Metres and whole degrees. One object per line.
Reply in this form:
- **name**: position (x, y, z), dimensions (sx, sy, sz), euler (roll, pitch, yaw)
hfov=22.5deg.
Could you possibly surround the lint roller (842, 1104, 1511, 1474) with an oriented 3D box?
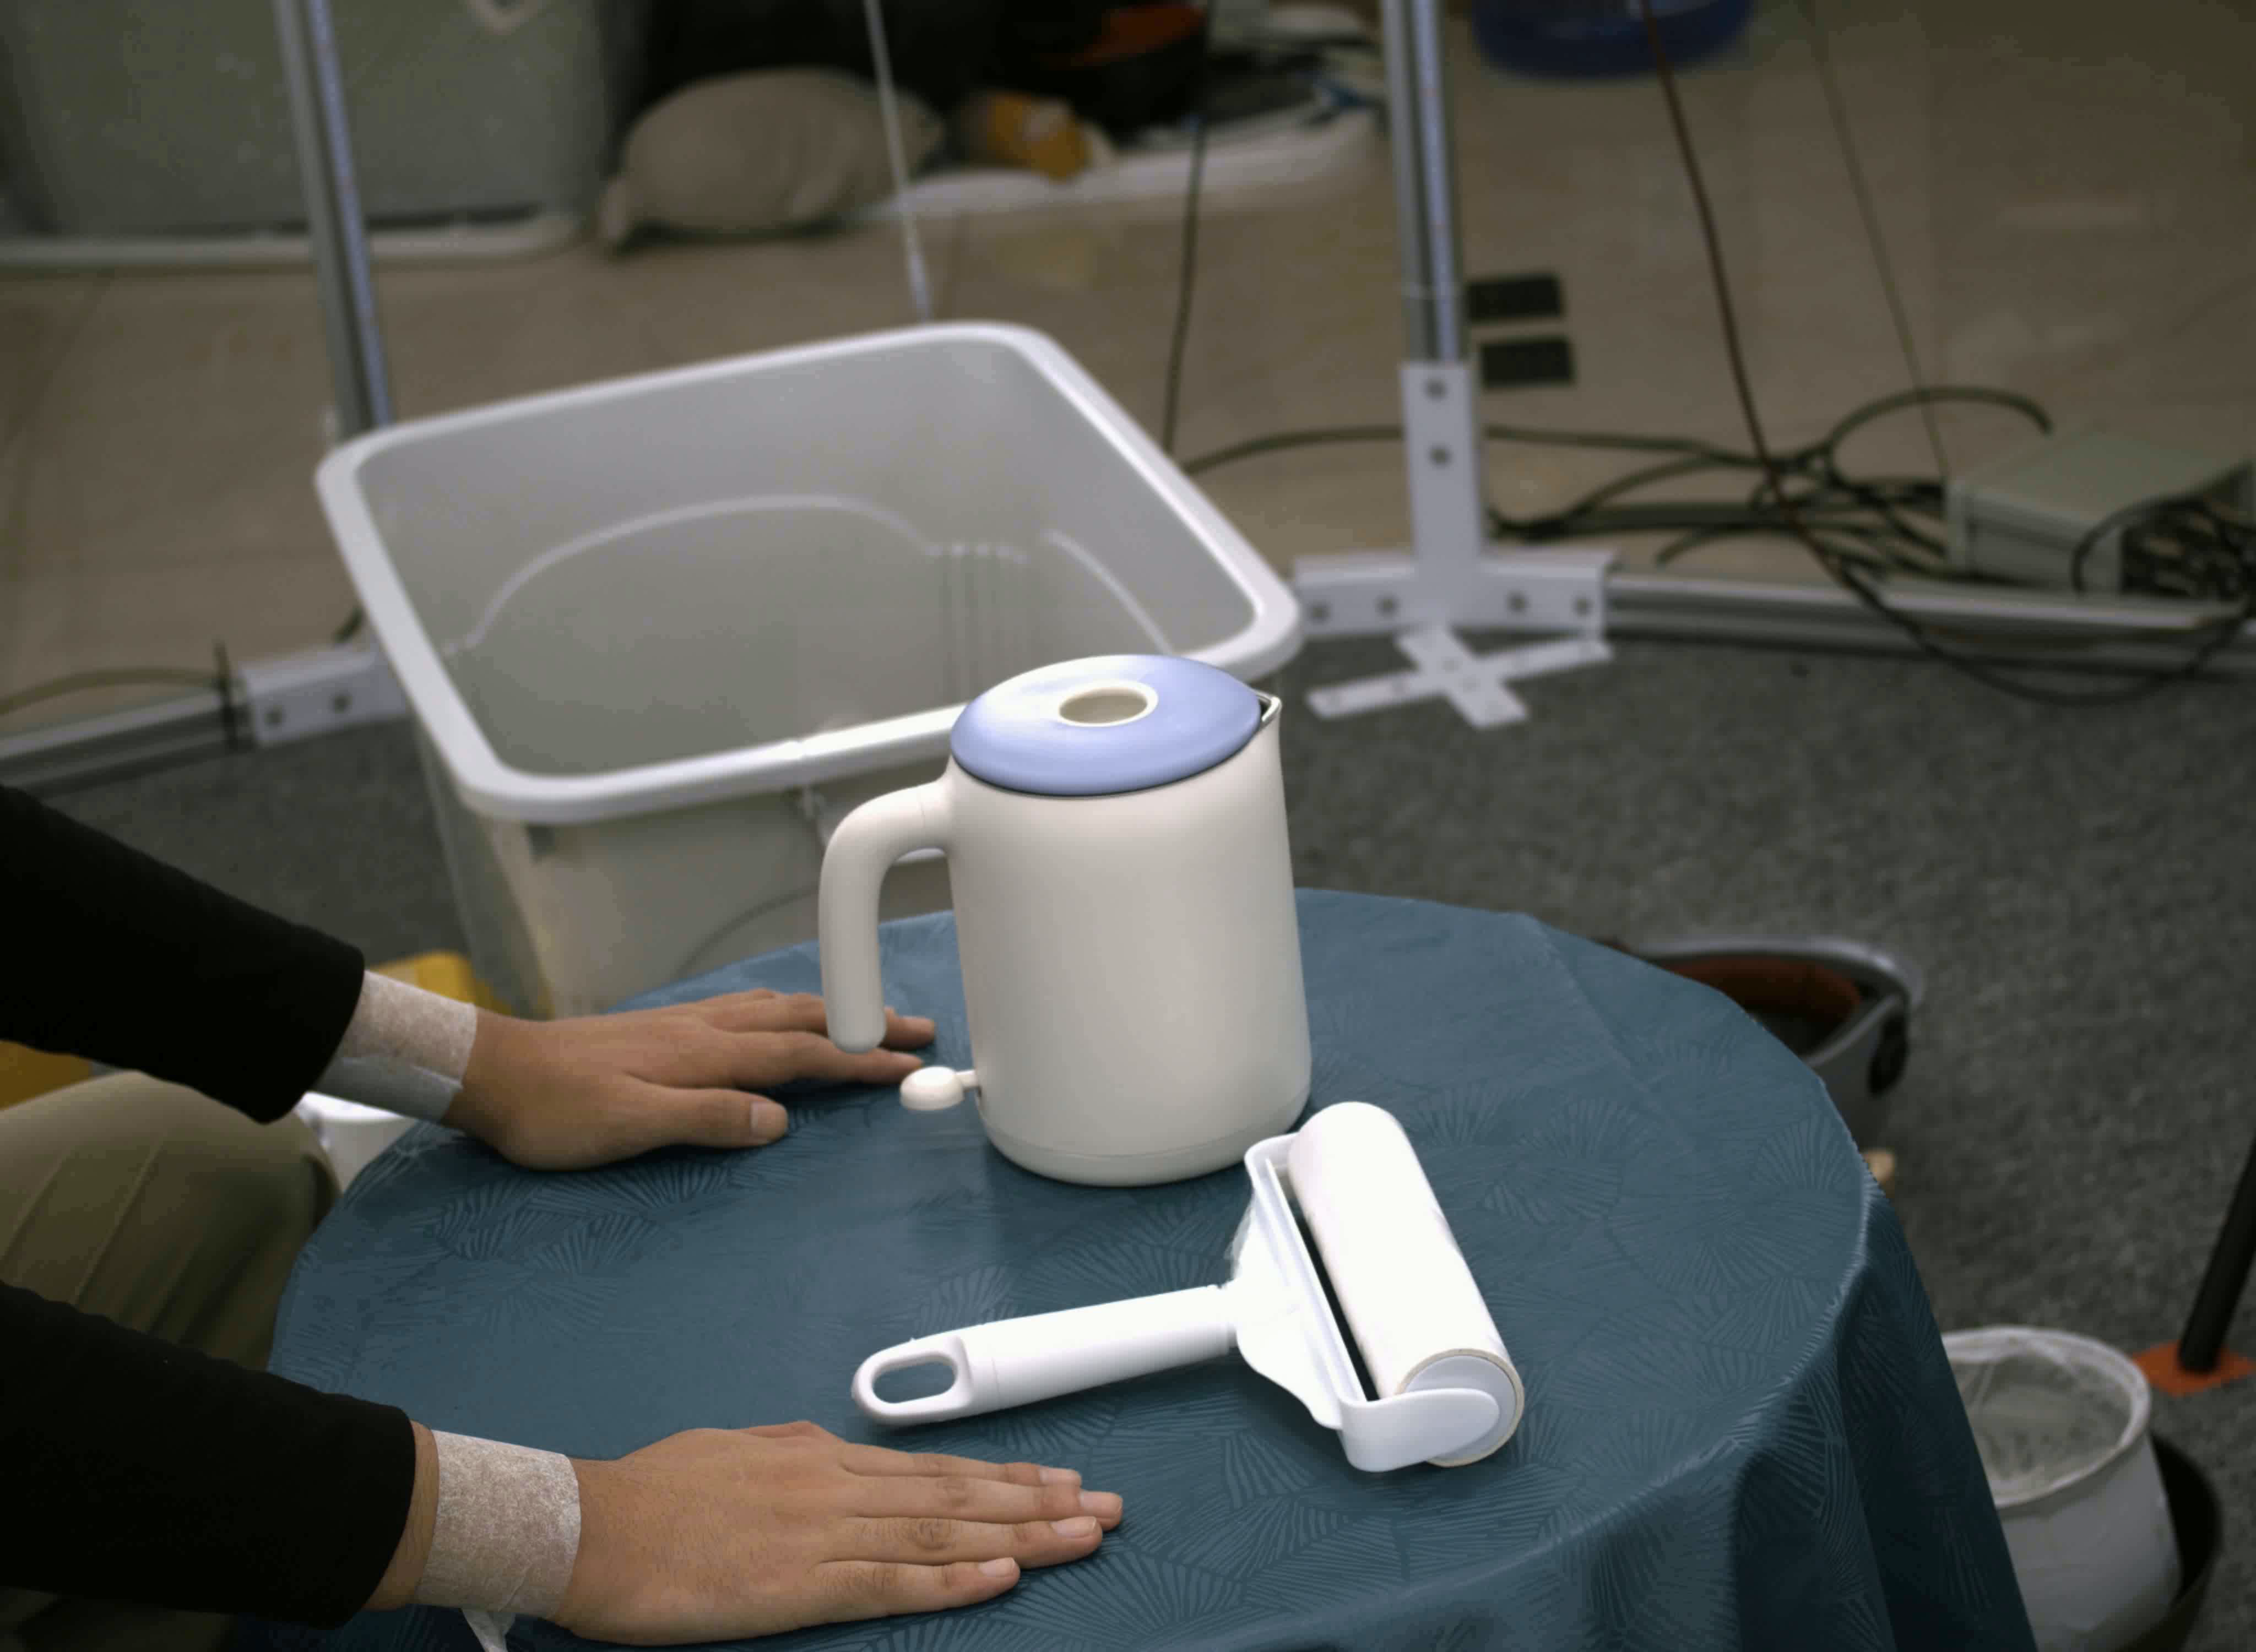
- **lint roller**: position (0.008, 0.178, 2.011), dimensions (0.225, 0.049, 0.200), euler (-11, 27, -6)

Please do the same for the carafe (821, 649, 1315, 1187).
- **carafe**: position (-0.024, 0.040, 2.161), dimensions (0.190, 0.185, 0.130), euler (-13, 26, -8)
